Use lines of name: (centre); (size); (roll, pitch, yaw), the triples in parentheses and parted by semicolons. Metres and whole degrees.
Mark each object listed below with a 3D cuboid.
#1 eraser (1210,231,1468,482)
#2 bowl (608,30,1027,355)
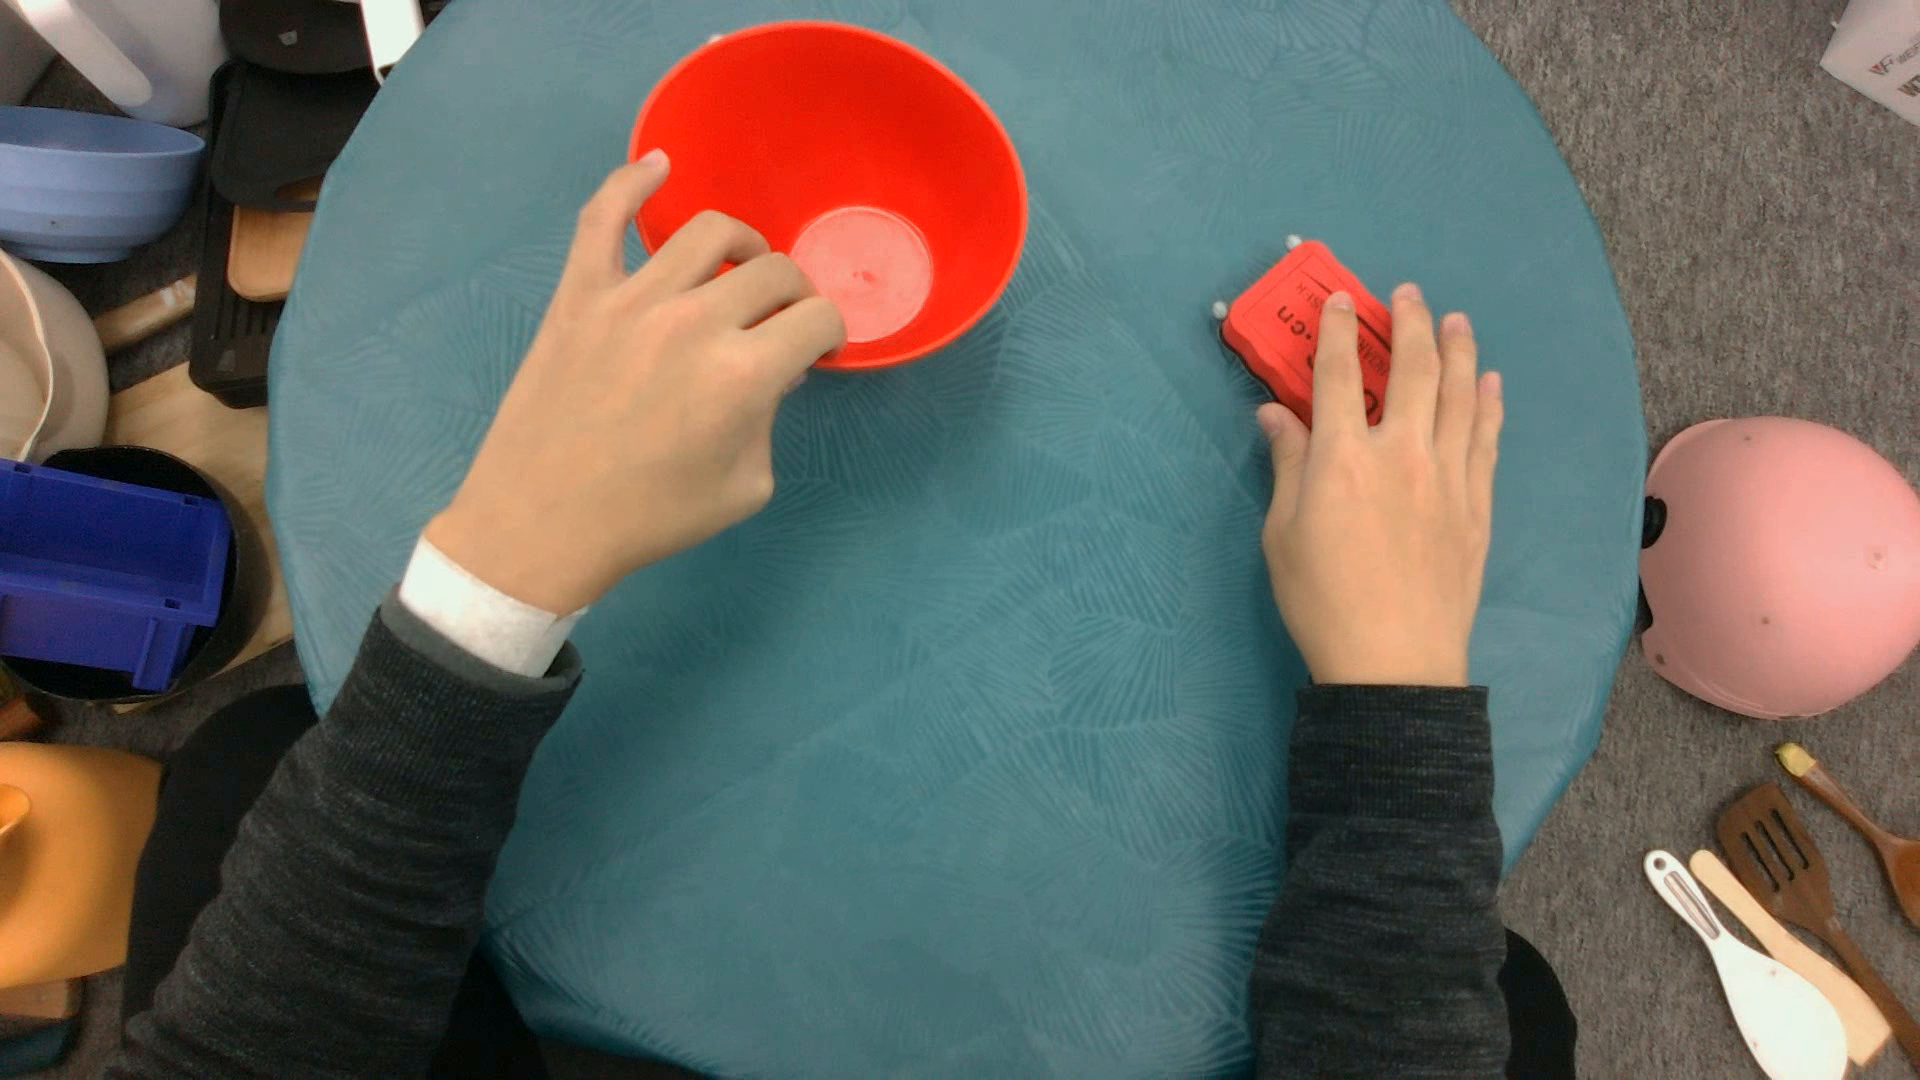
eraser: (0.166, -0.081, 0.606); (0.059, 0.023, 0.108); (-43, 84, -12)
bowl: (-0.049, -0.125, 0.521); (0.148, 0.104, 0.148); (-1, 47, 1)
